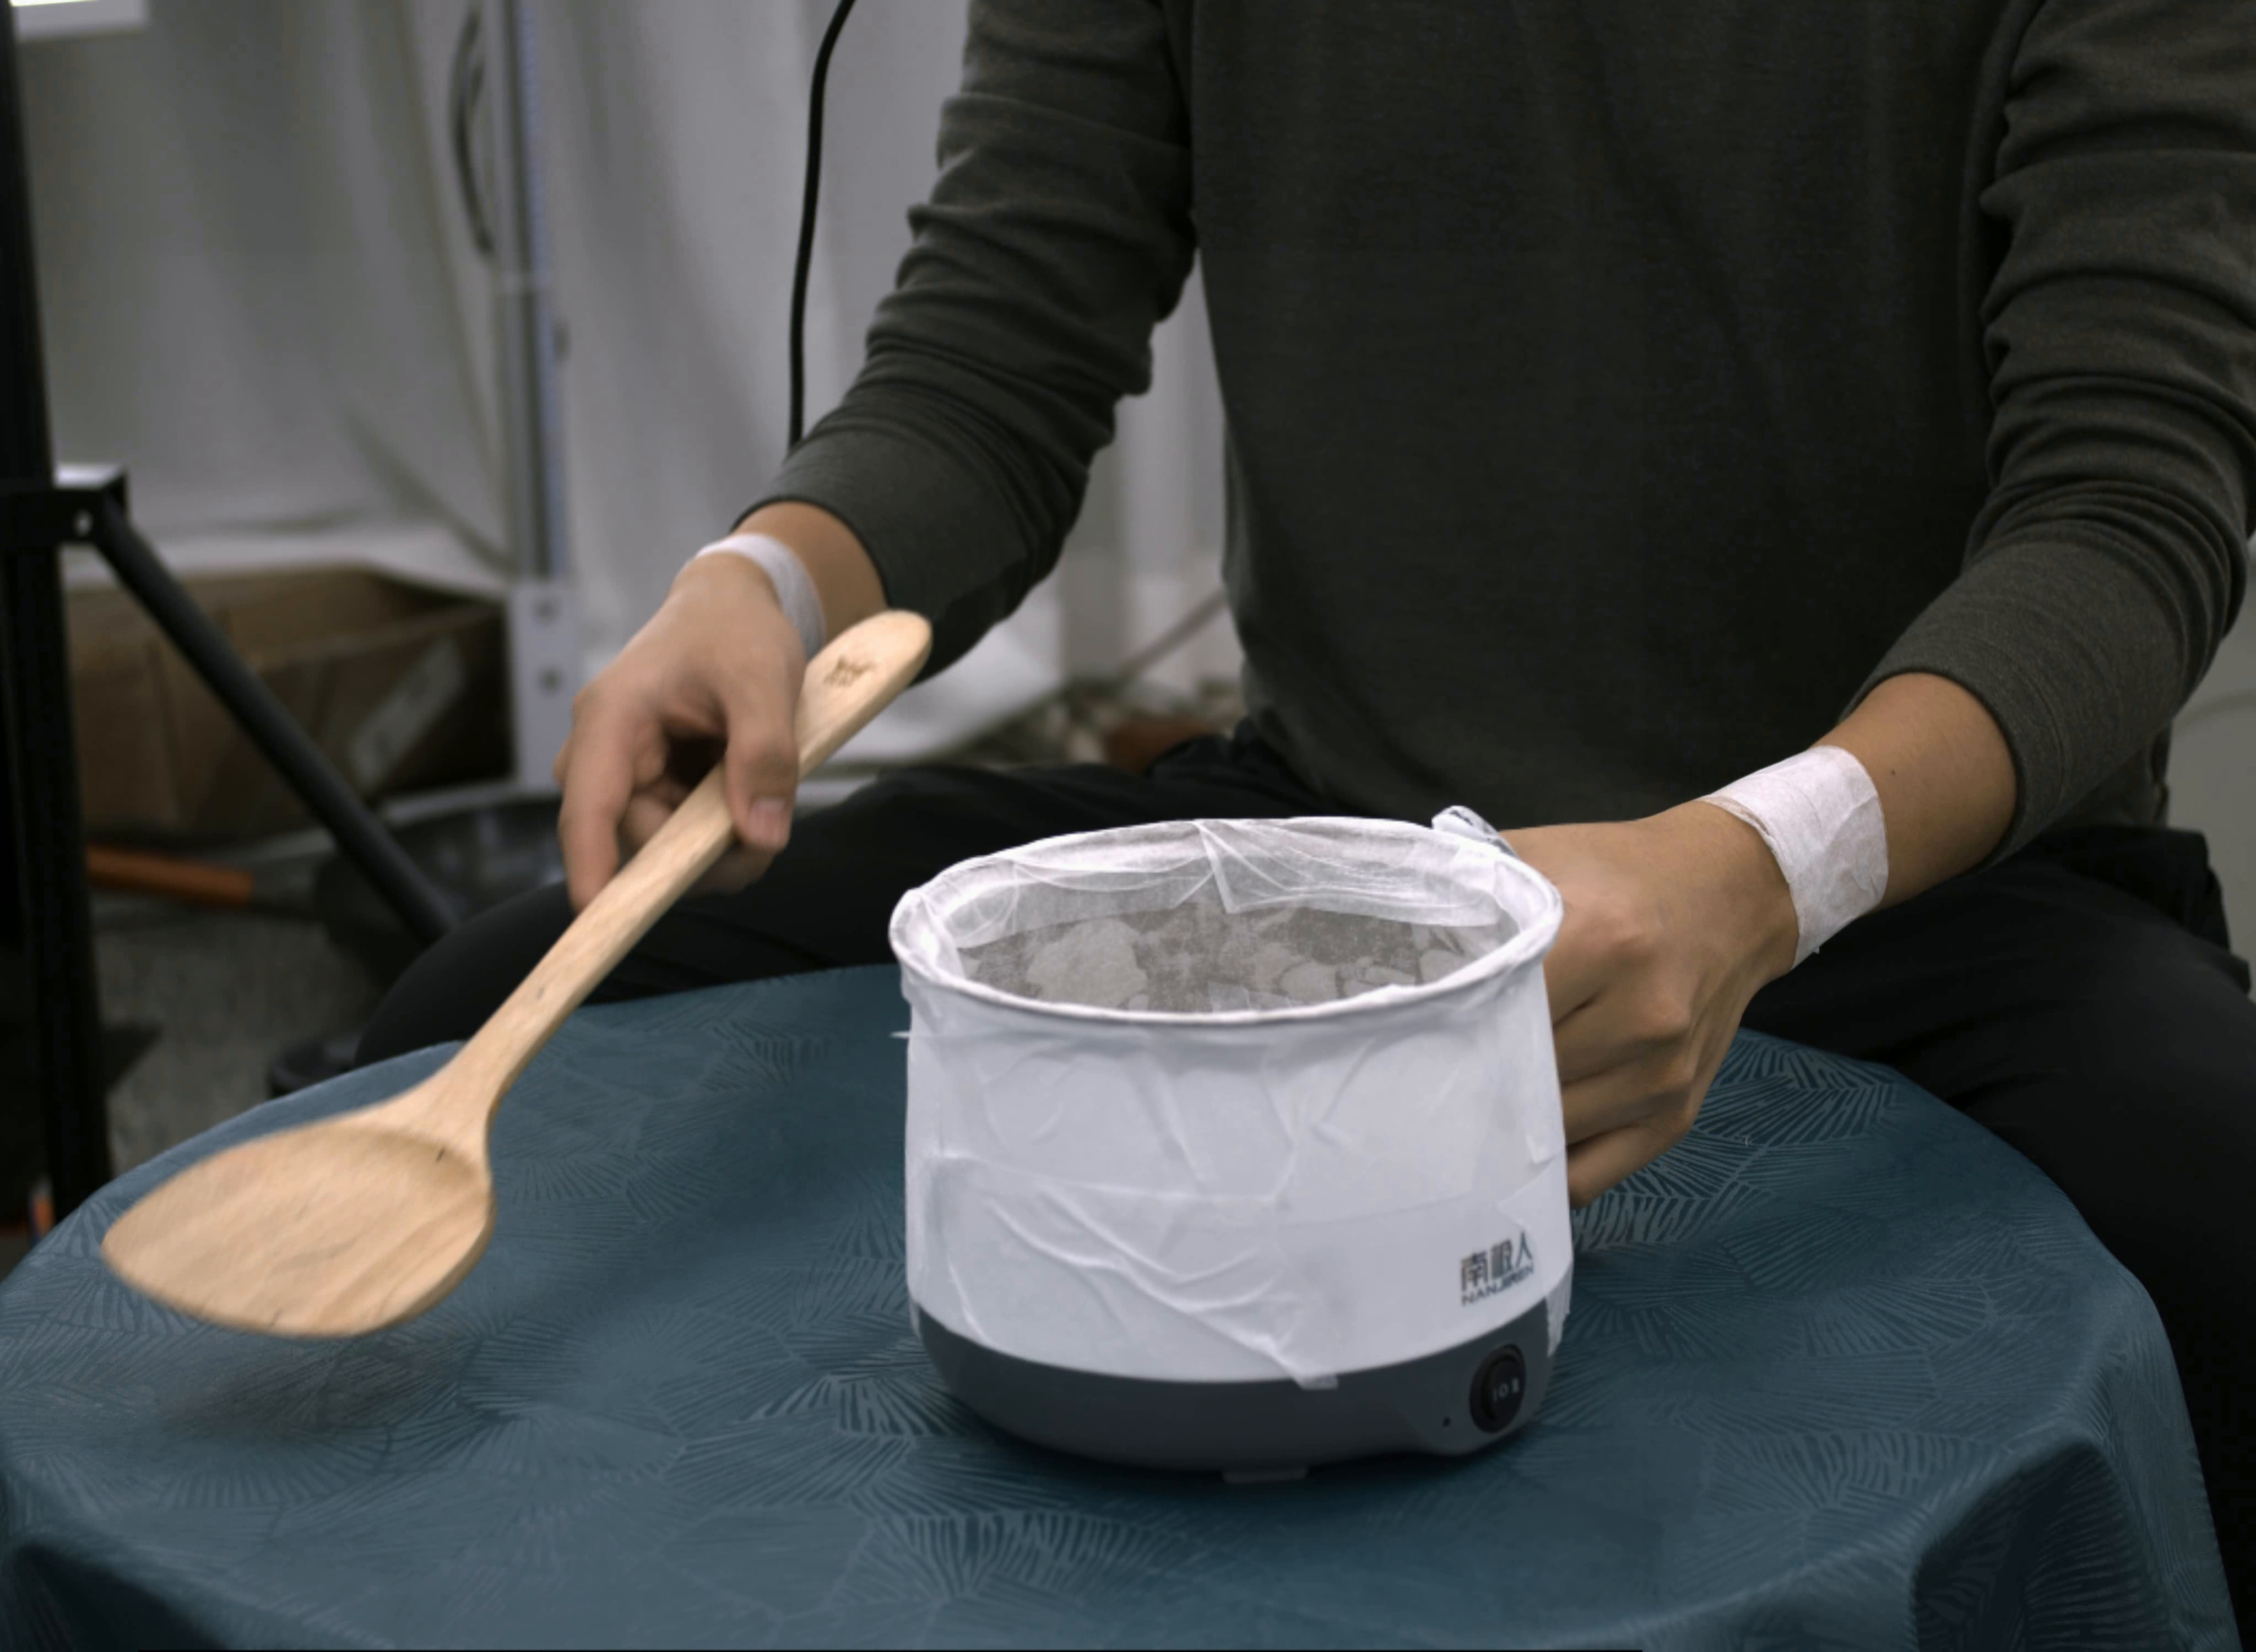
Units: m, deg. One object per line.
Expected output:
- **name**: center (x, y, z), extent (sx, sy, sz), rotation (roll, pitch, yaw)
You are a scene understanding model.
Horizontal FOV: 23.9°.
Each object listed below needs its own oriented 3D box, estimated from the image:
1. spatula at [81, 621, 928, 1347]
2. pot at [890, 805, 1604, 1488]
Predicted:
- **spatula**: center (-0.160, 0.035, 1.546), extent (0.097, 0.018, 0.387), rotation (14, 38, 23)
- **pot**: center (0.046, 0.077, 1.413), extent (0.182, 0.136, 0.228), rotation (12, 21, 40)
